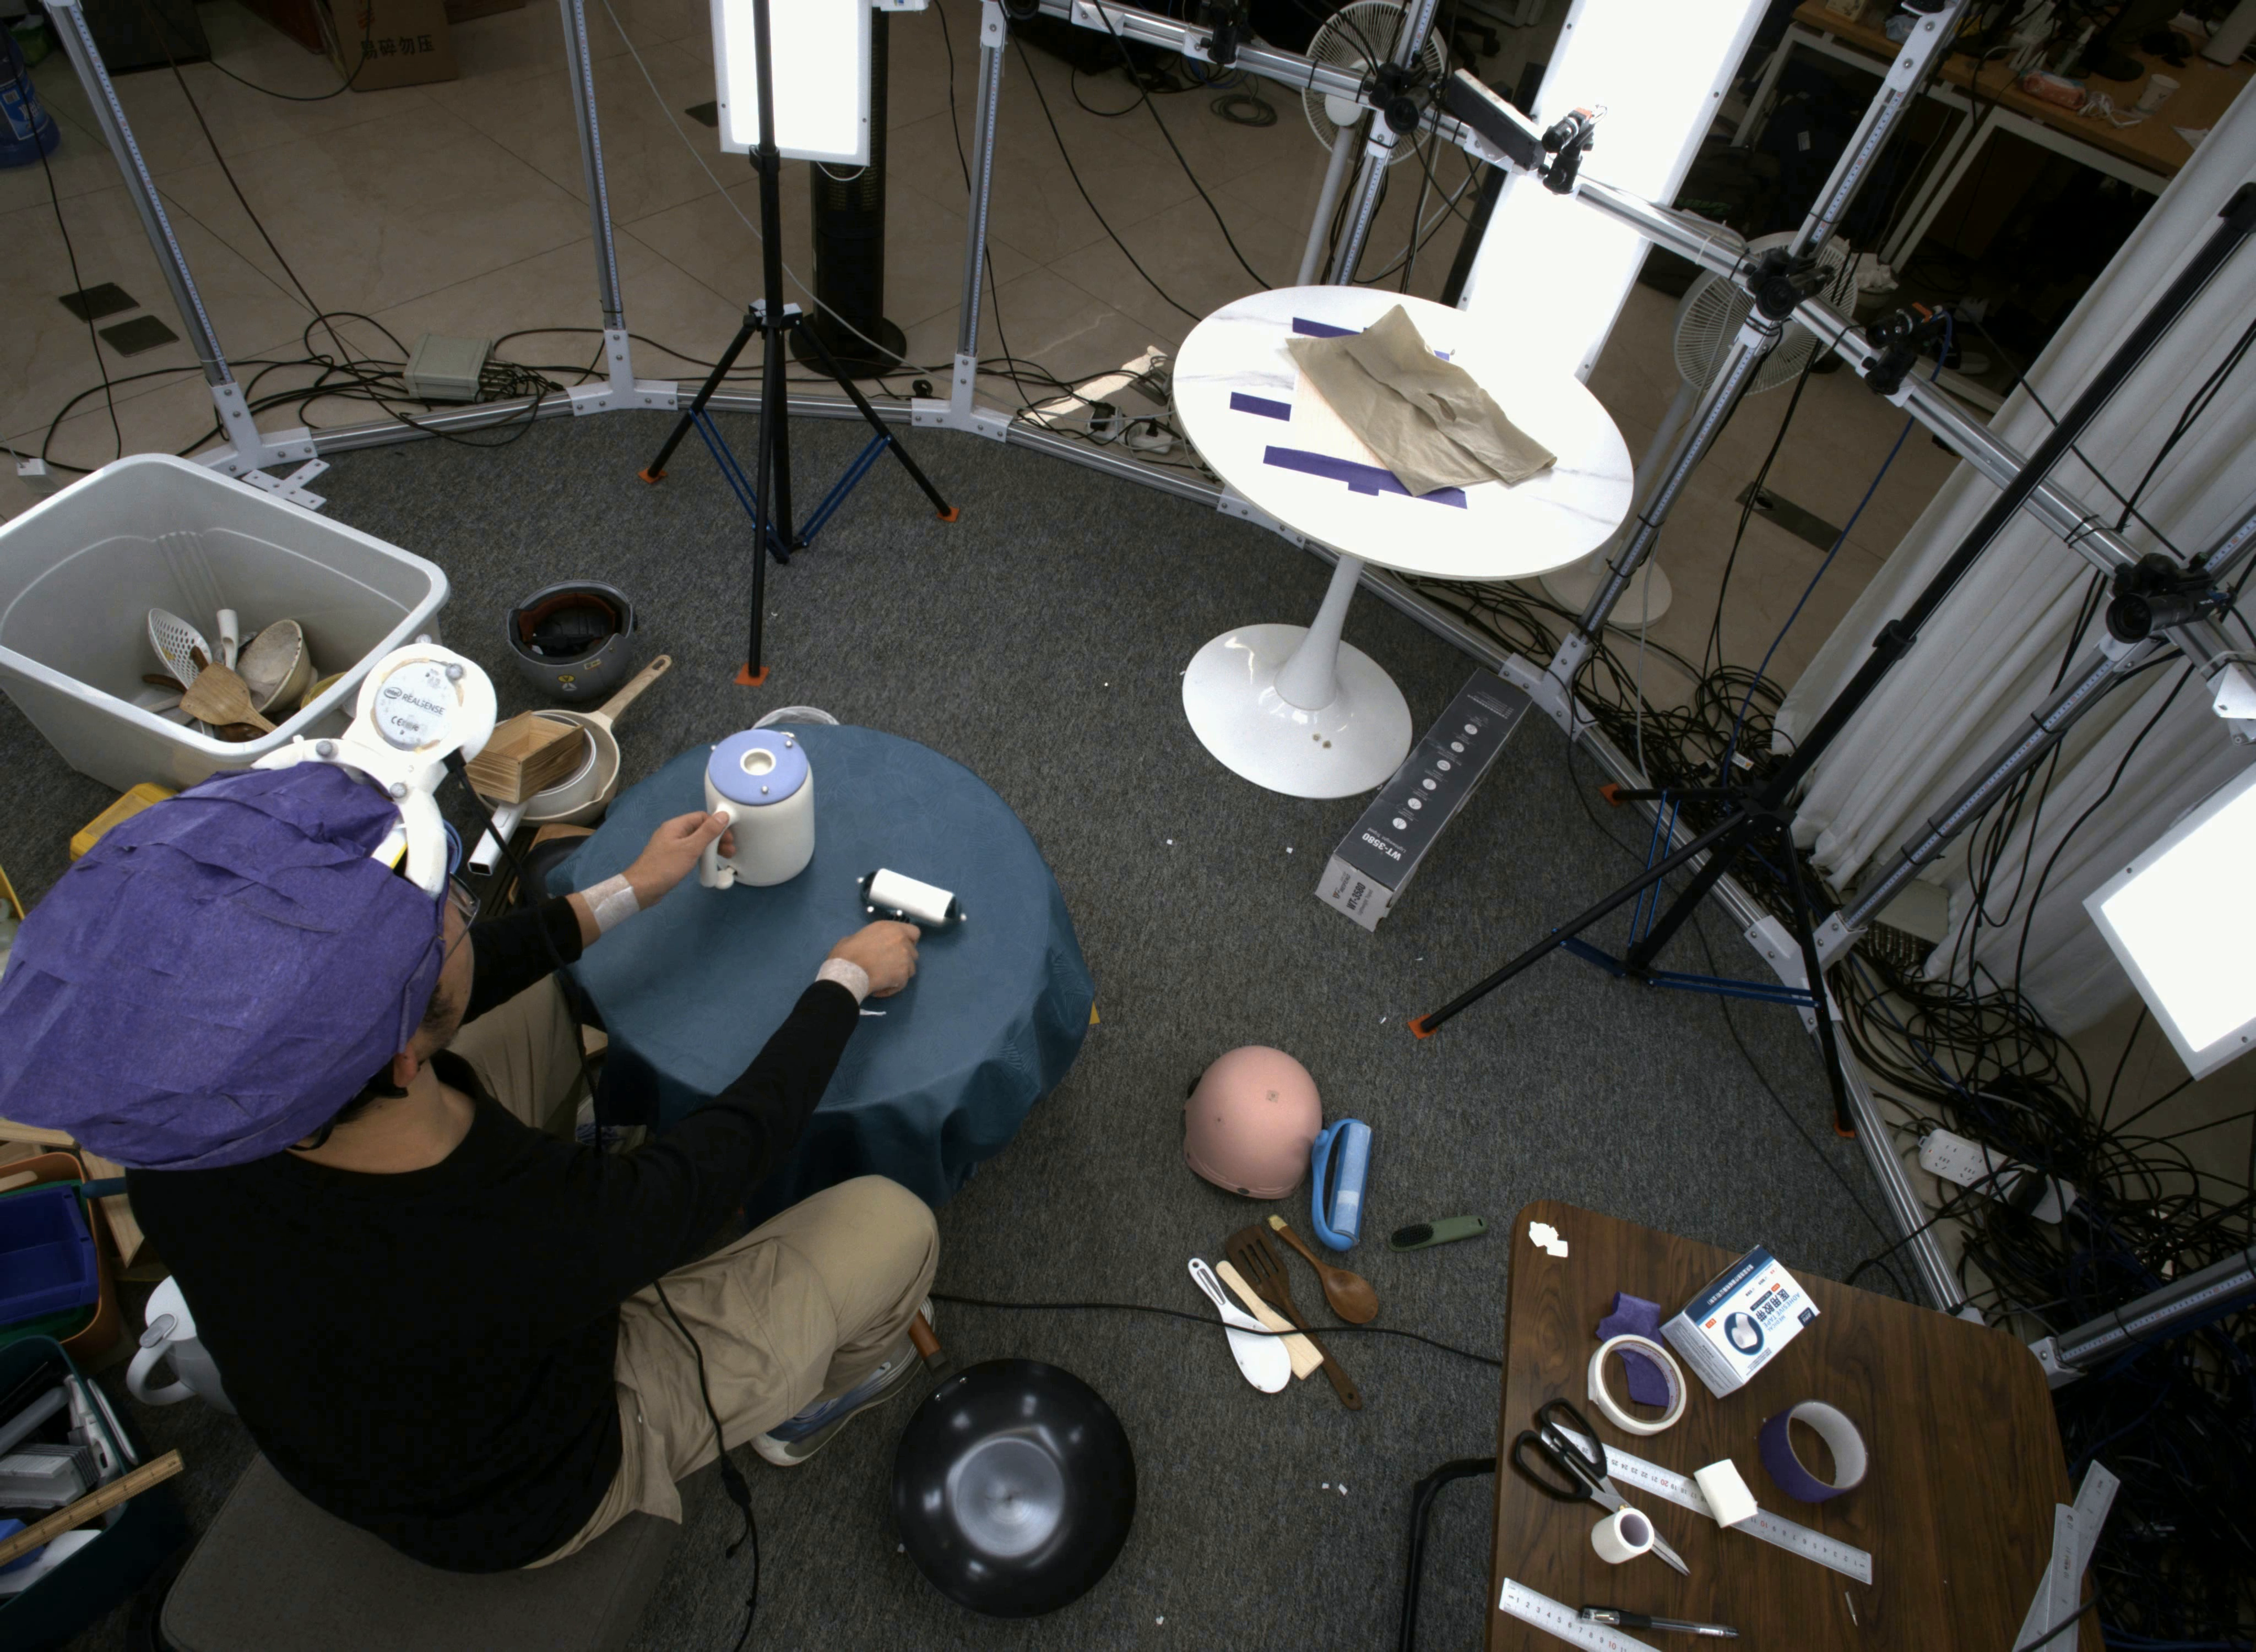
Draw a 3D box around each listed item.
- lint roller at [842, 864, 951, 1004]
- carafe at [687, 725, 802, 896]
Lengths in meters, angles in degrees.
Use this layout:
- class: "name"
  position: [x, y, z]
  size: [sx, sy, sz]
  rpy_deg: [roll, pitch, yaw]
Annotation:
- class: "lint roller"
  position: [-0.308, 0.136, 1.611]
  size: [0.133, 0.049, 0.178]
  rpy_deg: [22, 48, 2]
- class: "carafe"
  position: [-0.486, -0.007, 1.596]
  size: [0.130, 0.186, 0.190]
  rpy_deg: [24, 53, 7]
